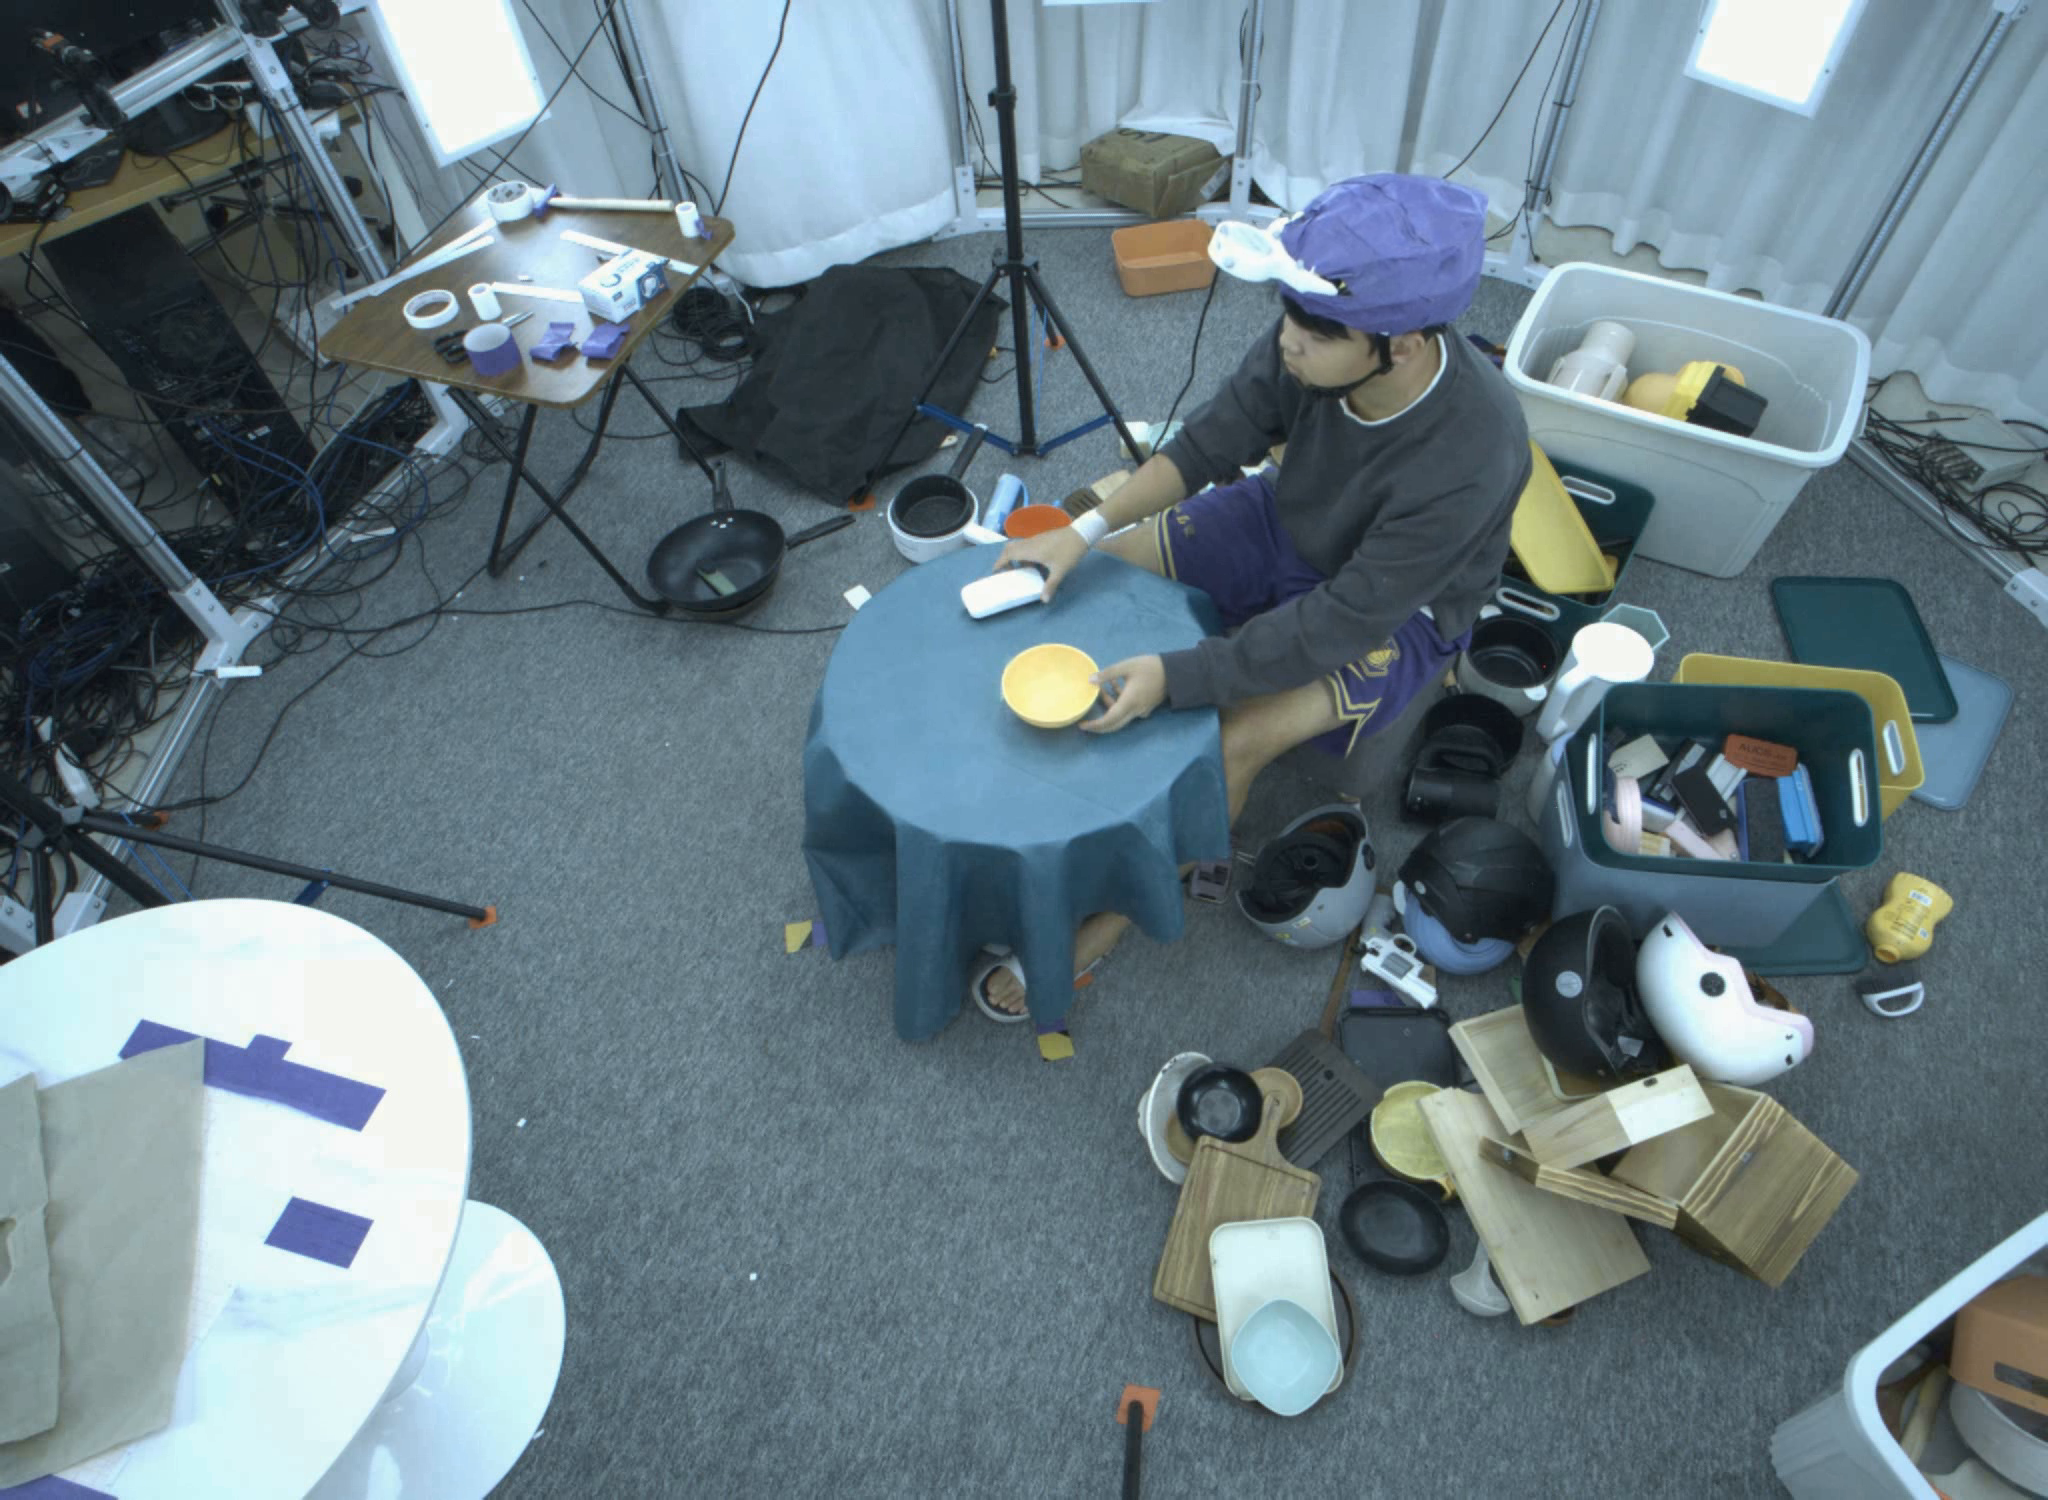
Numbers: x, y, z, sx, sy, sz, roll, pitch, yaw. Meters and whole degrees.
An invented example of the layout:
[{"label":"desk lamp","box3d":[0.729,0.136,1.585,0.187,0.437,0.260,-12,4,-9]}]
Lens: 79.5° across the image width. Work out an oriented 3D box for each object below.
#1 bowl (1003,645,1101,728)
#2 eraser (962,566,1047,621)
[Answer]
[{"label":"bowl","box3d":[0.041,-0.082,1.814,0.145,0.060,0.144,1,54,0]},{"label":"eraser","box3d":[-0.031,-0.249,1.949,0.132,0.035,0.062,-19,57,-10]}]
